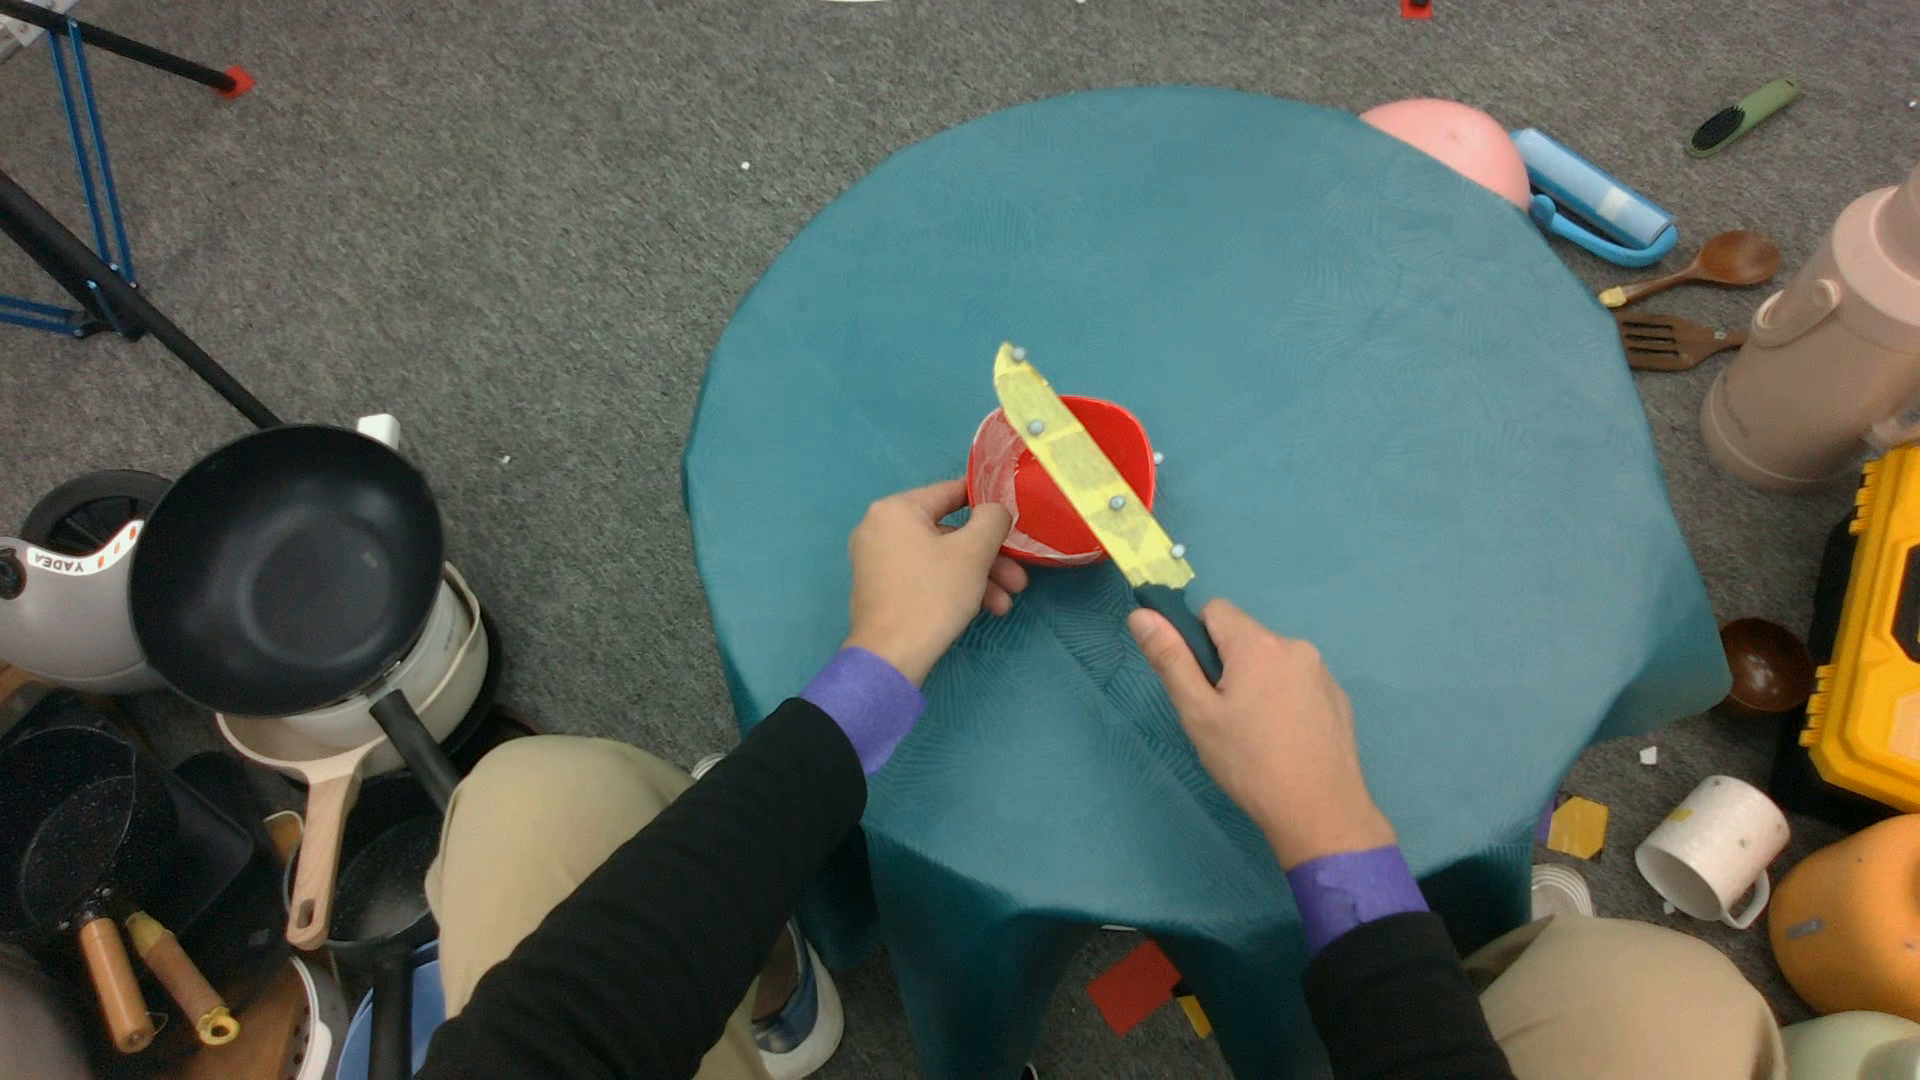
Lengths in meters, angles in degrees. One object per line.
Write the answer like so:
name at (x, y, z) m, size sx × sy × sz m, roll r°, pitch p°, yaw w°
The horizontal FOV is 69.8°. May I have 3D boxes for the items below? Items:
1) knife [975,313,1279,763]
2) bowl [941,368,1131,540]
knife at (0.090, -0.007, 0.755) m, size 0.289 × 0.027 × 0.081 m, roll 57°, pitch 33°, yaw 7°
bowl at (0.044, -0.043, 0.821) m, size 0.119 × 0.051 × 0.119 m, roll 0°, pitch 63°, yaw 0°
